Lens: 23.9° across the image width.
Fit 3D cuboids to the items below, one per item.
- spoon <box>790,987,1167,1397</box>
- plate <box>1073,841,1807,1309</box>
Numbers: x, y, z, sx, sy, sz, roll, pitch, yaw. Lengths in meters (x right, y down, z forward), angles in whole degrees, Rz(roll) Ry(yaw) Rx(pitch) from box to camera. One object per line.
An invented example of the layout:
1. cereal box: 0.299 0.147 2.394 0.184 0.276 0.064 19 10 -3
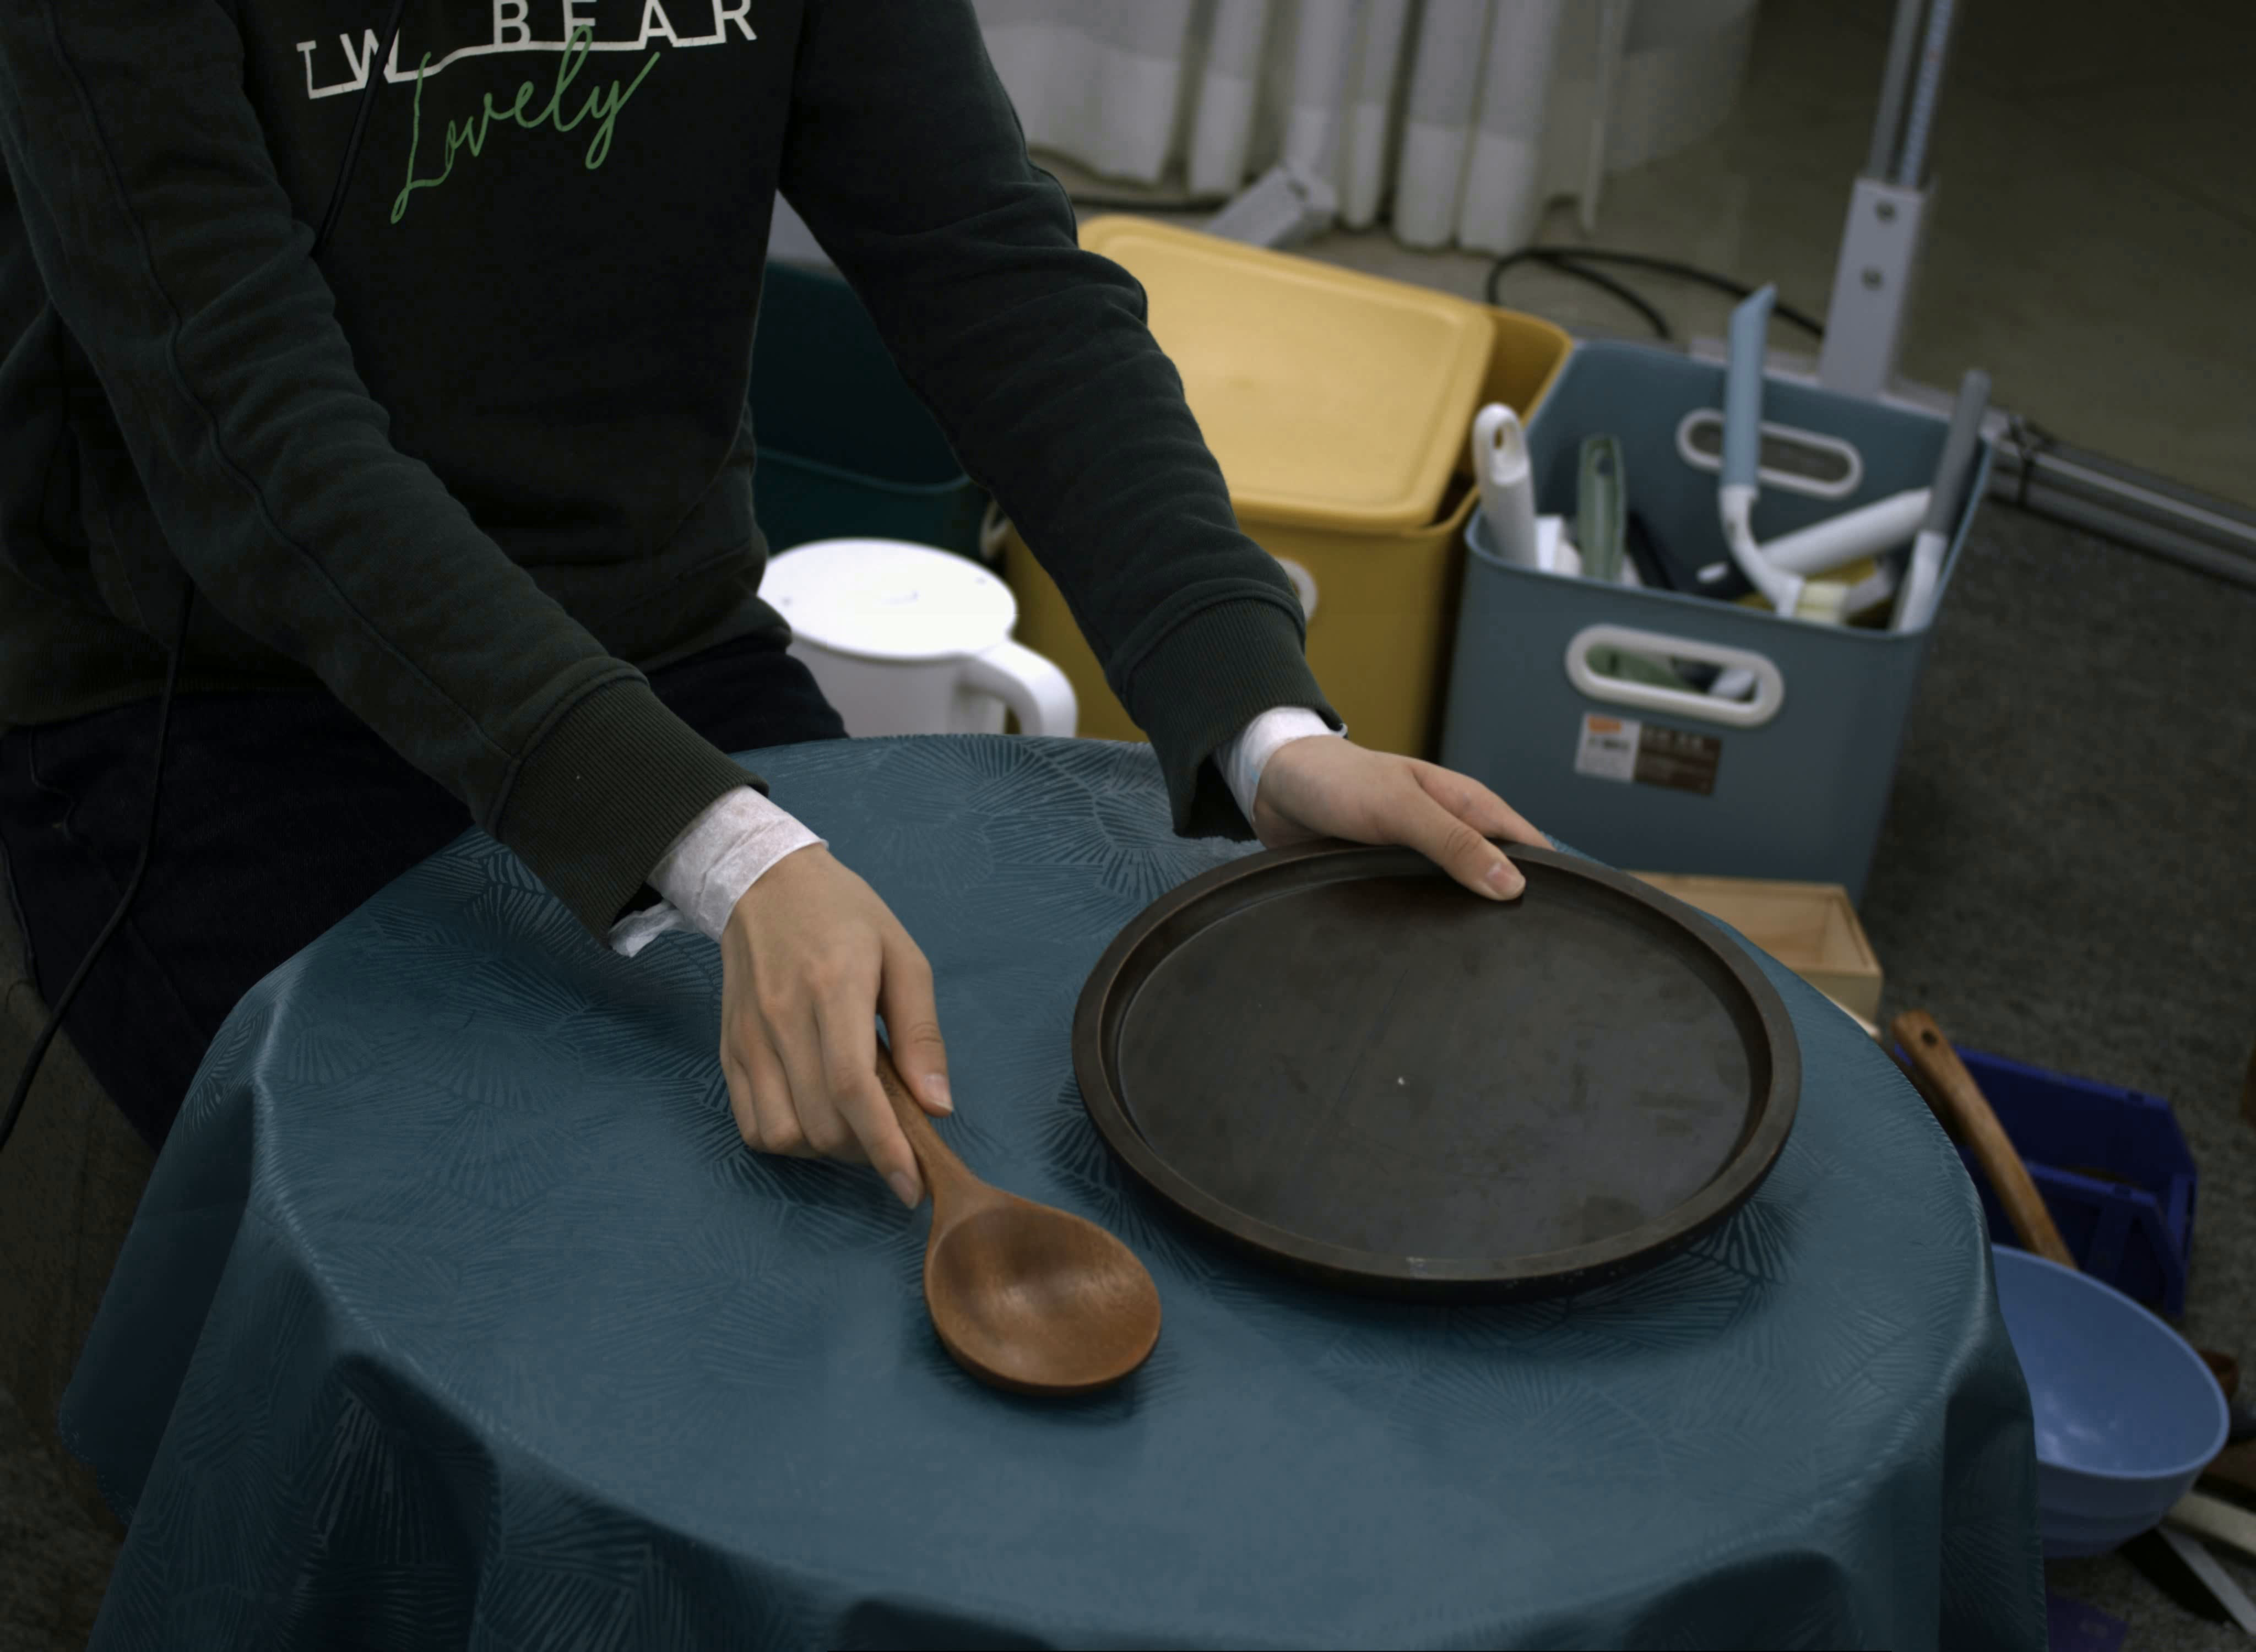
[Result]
1. spoon: -0.057 0.119 1.751 0.075 0.017 0.218 -18 42 -22
2. plate: 0.107 0.083 1.836 0.254 0.029 0.257 1 36 -1
